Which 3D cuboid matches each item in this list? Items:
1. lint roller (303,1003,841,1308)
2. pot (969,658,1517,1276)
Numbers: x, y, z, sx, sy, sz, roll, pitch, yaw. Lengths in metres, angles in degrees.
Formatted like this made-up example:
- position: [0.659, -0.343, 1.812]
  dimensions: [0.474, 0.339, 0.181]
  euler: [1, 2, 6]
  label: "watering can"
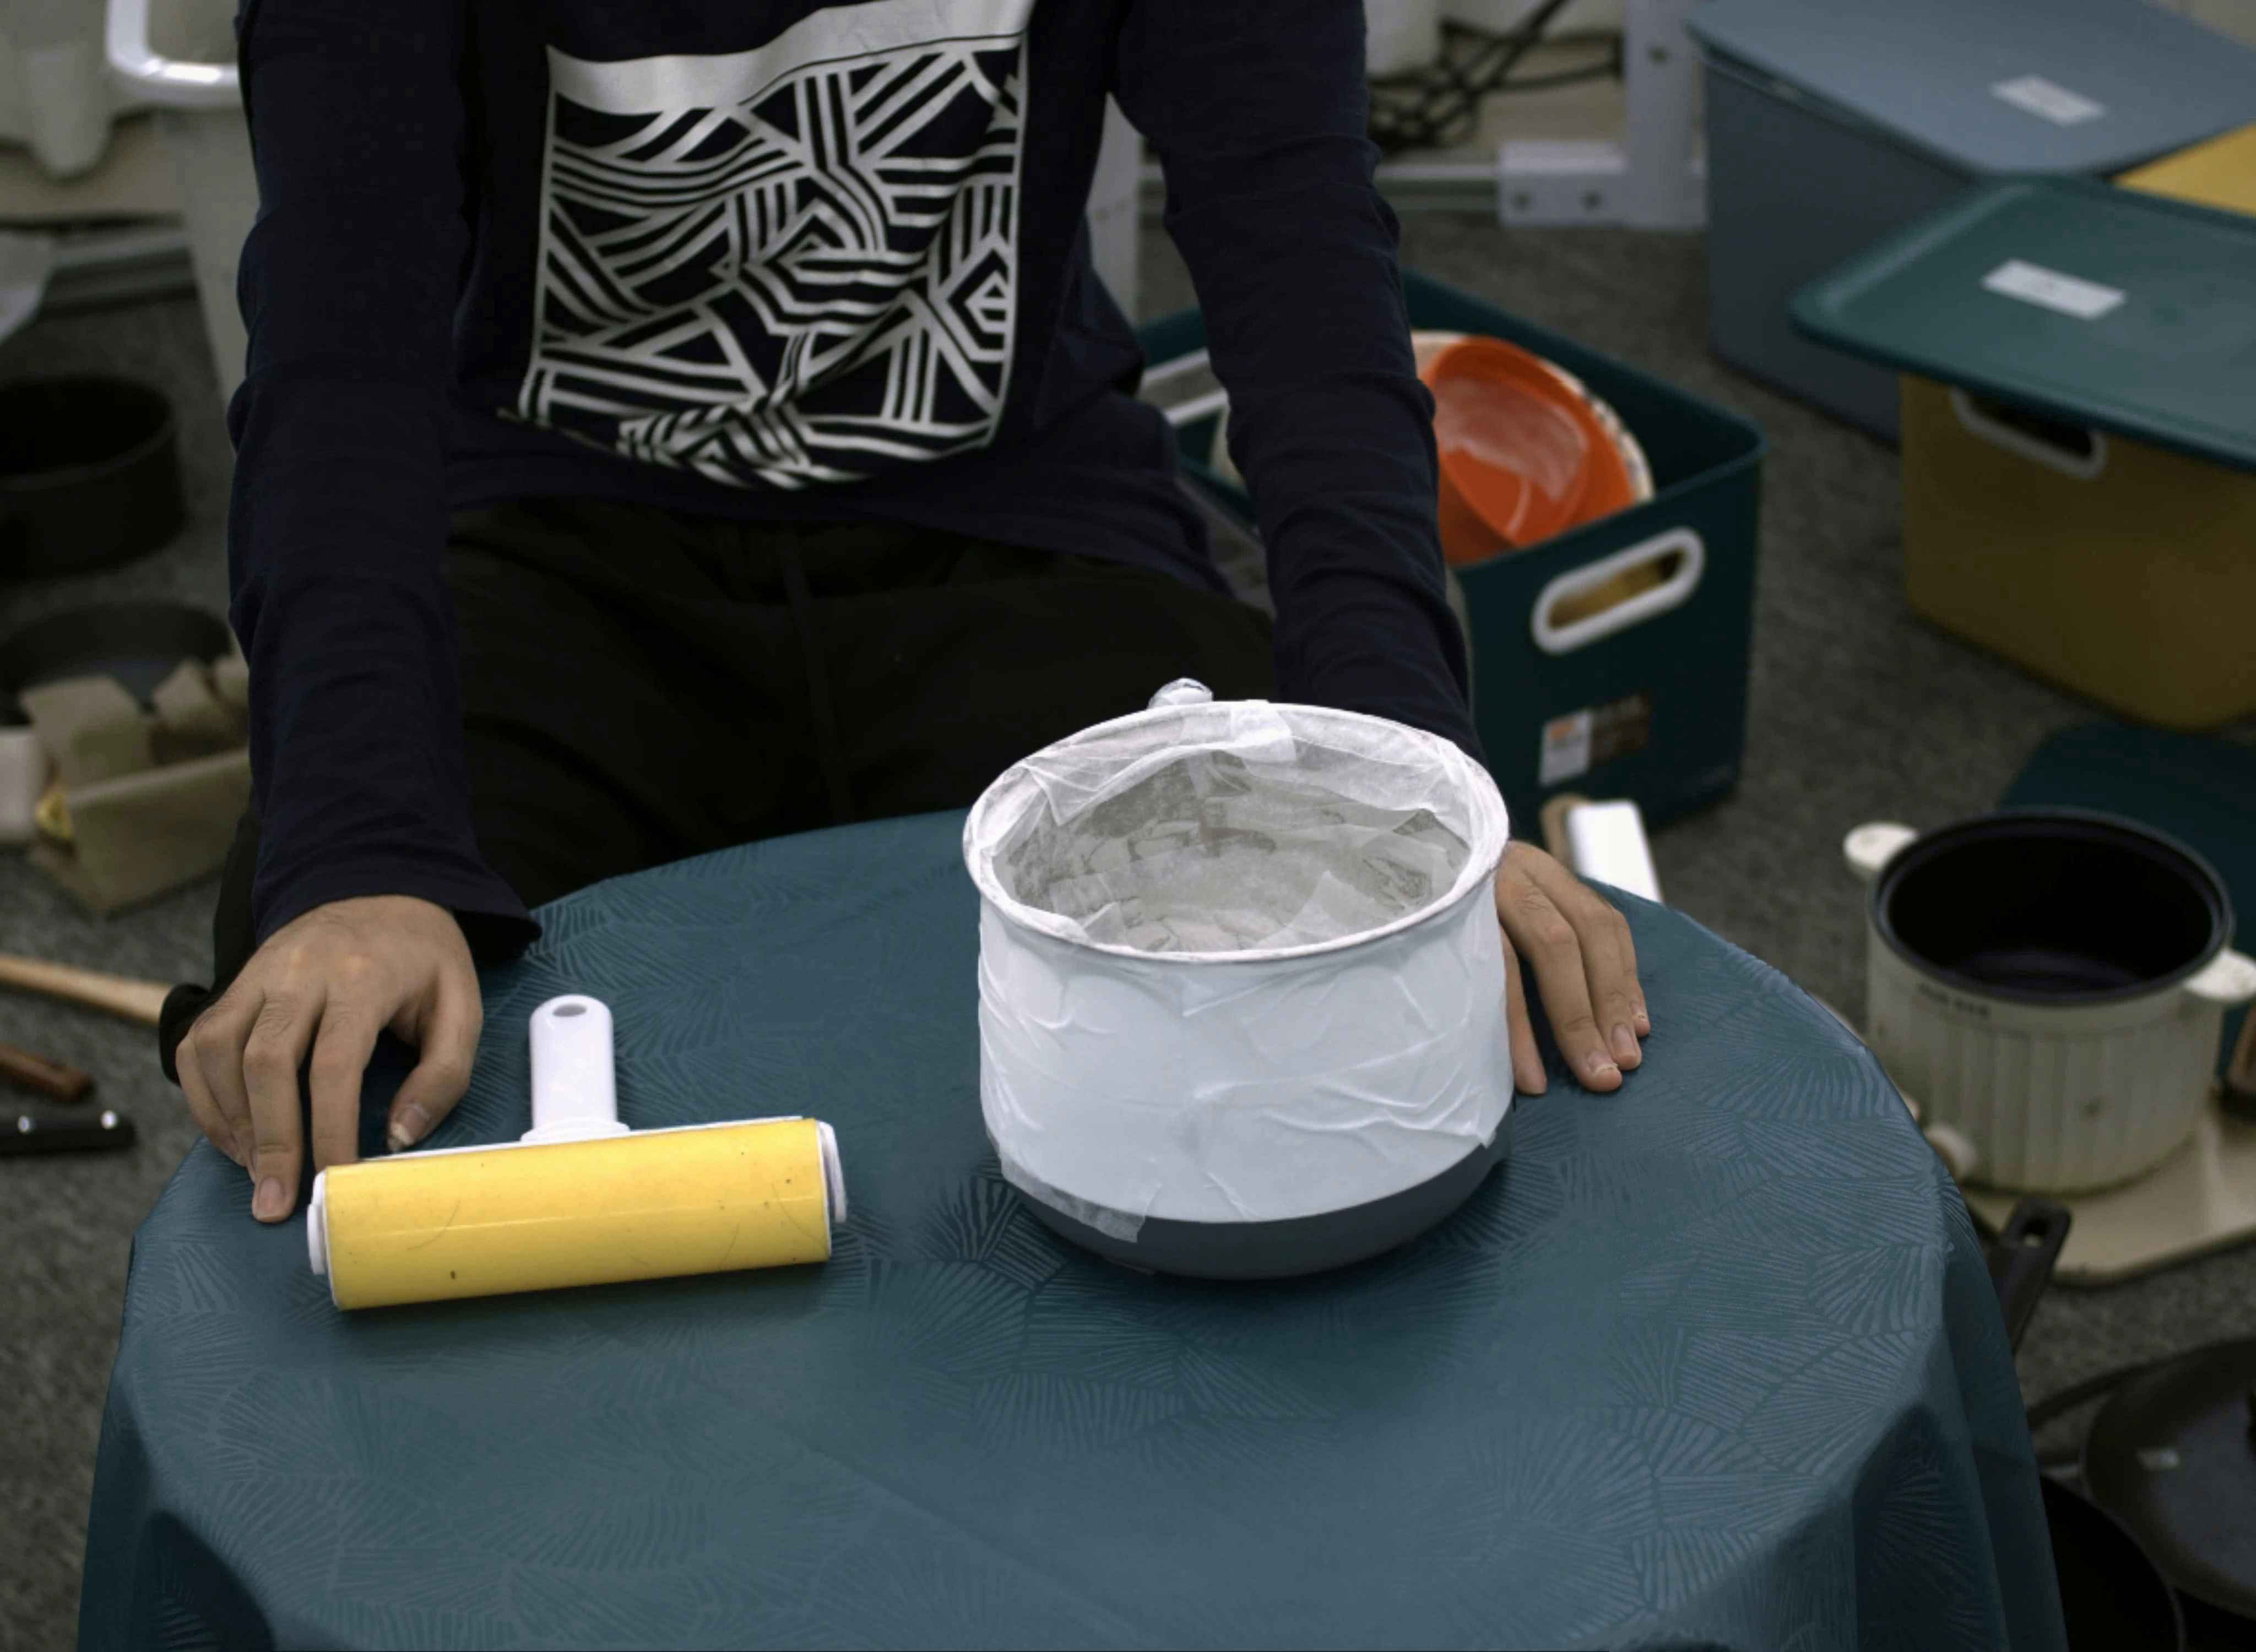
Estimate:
- position: [-0.189, 0.094, 1.880]
  dimensions: [0.174, 0.051, 0.194]
  euler: [-5, 29, -7]
  label: "lint roller"
- position: [0.032, 0.039, 1.861]
  dimensions: [0.178, 0.135, 0.237]
  euler: [-5, 29, -9]
  label: "pot"
